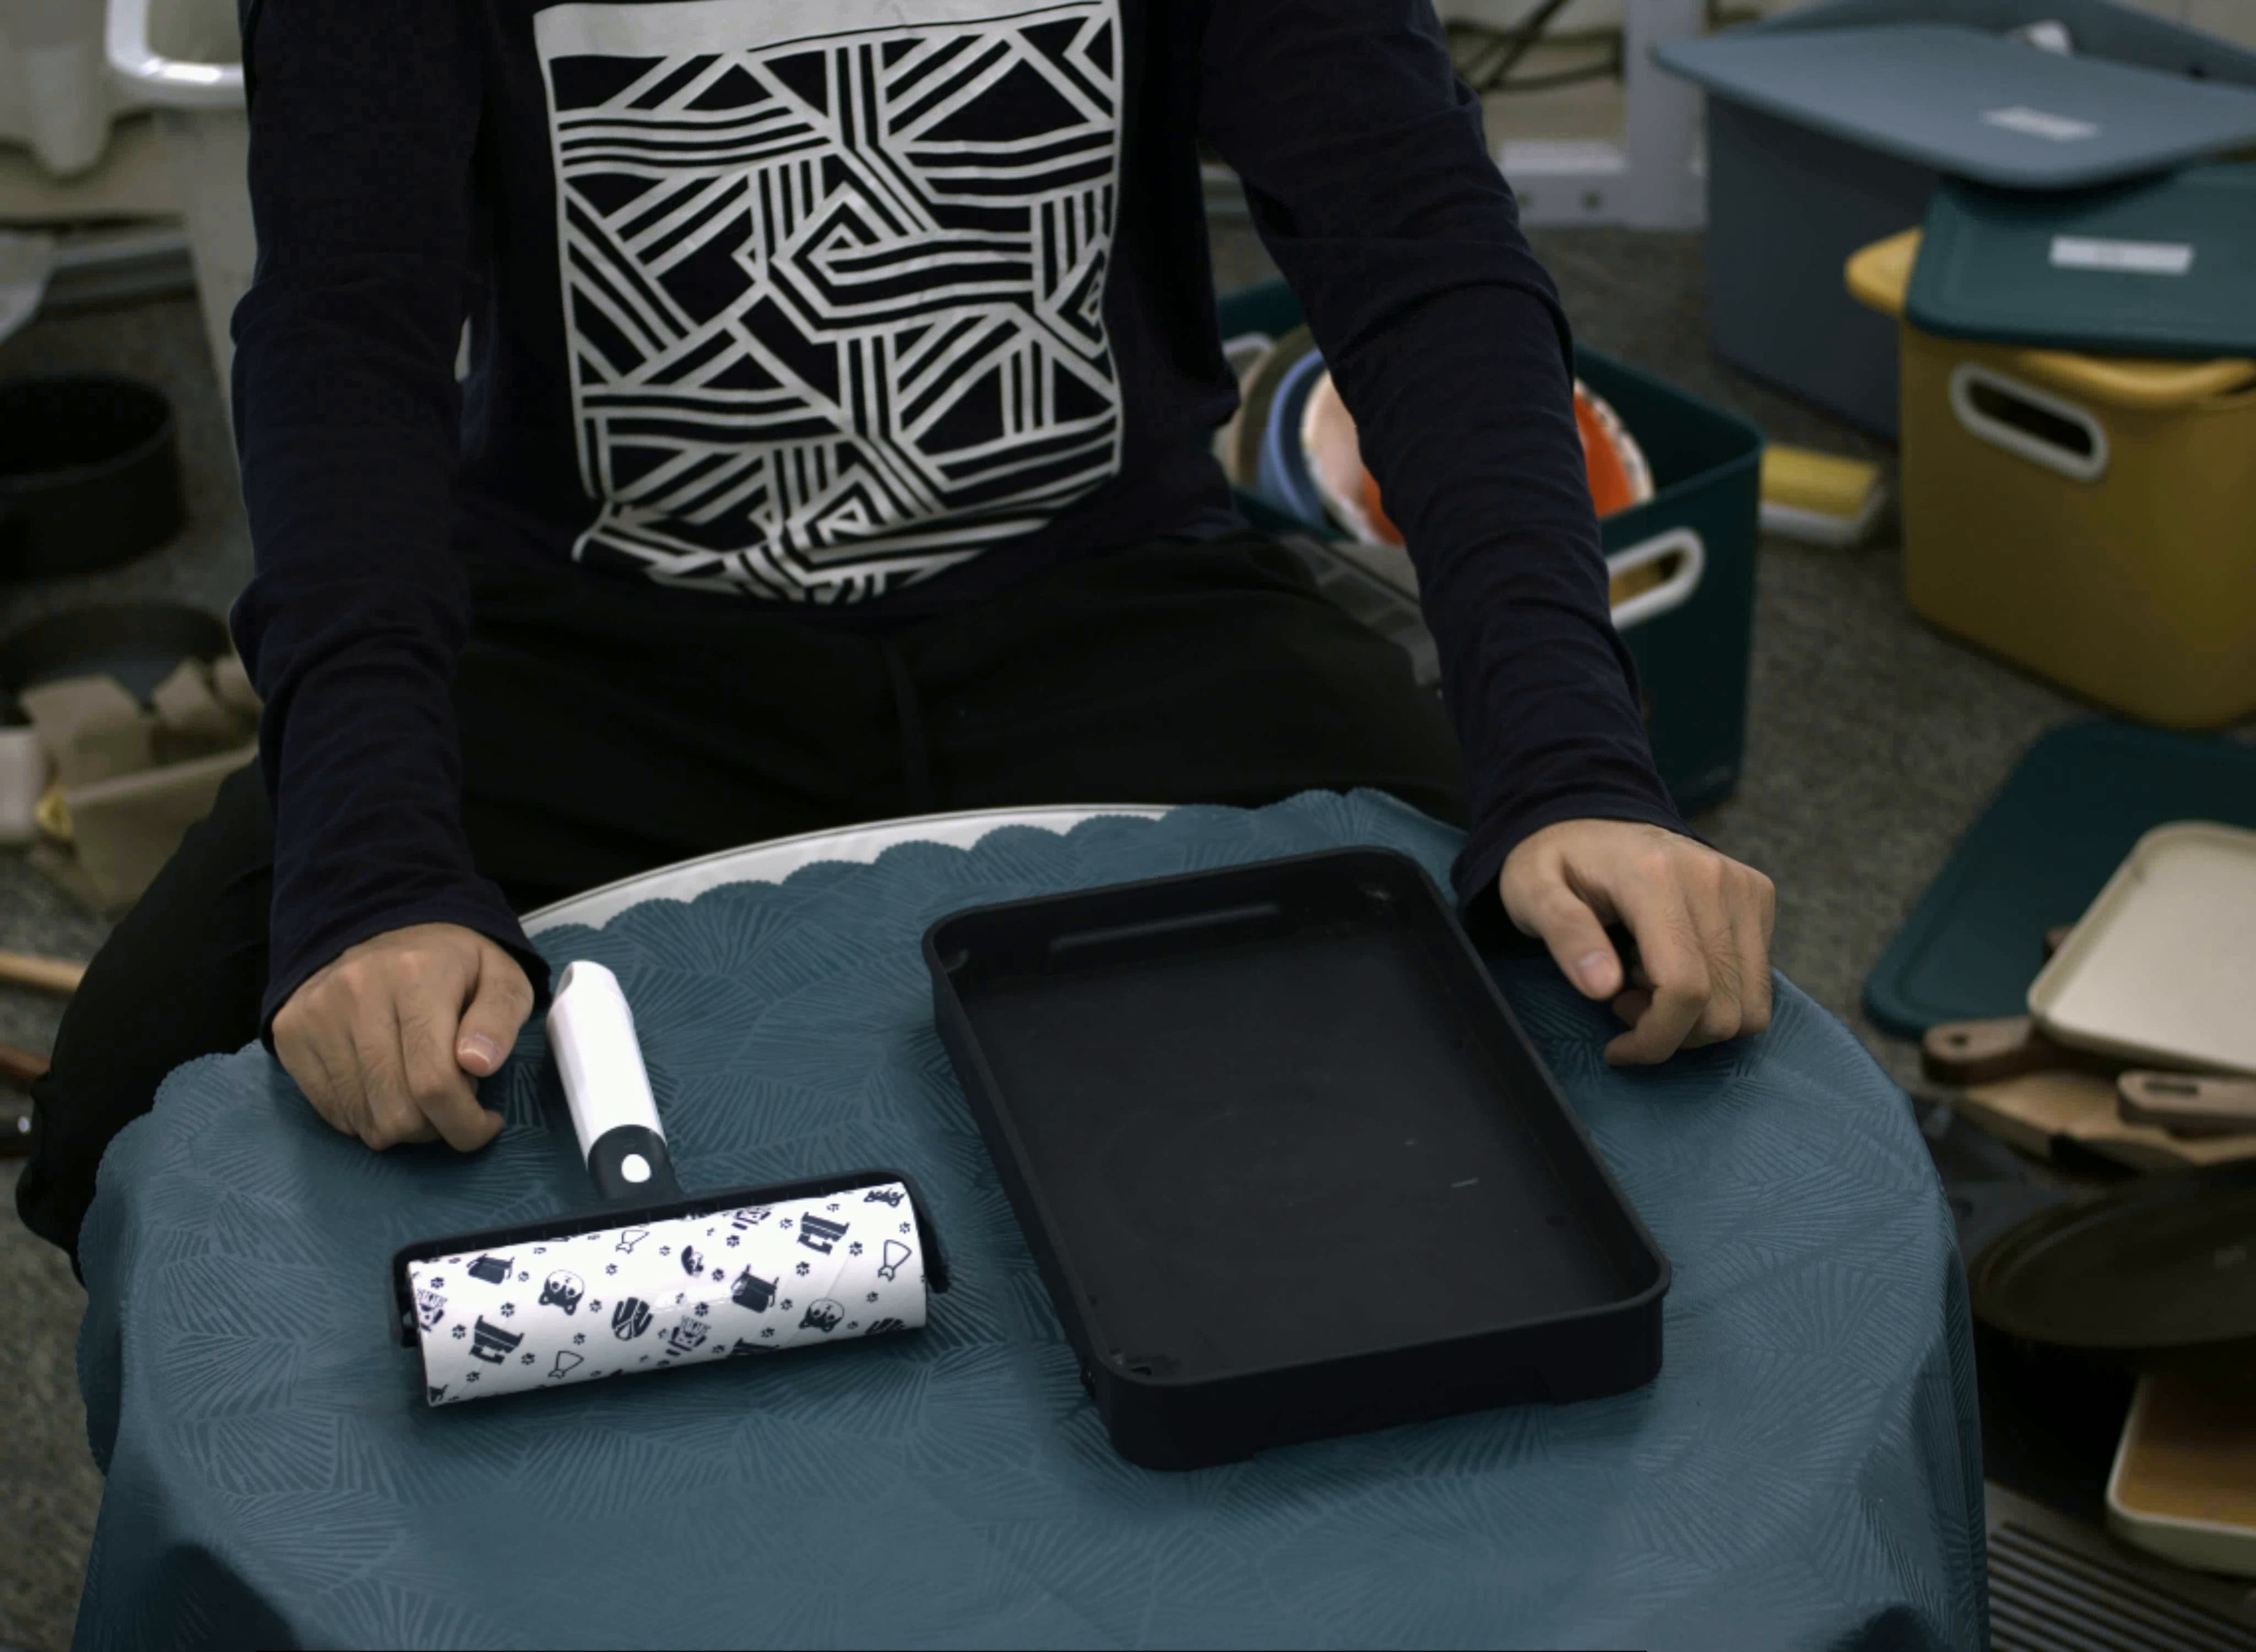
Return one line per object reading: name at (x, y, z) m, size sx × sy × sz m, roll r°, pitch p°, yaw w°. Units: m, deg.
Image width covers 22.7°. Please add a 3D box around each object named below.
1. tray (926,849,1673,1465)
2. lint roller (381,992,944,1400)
tray at (0.050, 0.102, 1.855) m, size 0.184 × 0.036 × 0.321 m, roll -8°, pitch 27°, yaw -11°
lint roller at (-0.169, 0.107, 1.864) m, size 0.176 × 0.050 × 0.249 m, roll -9°, pitch 25°, yaw -10°
